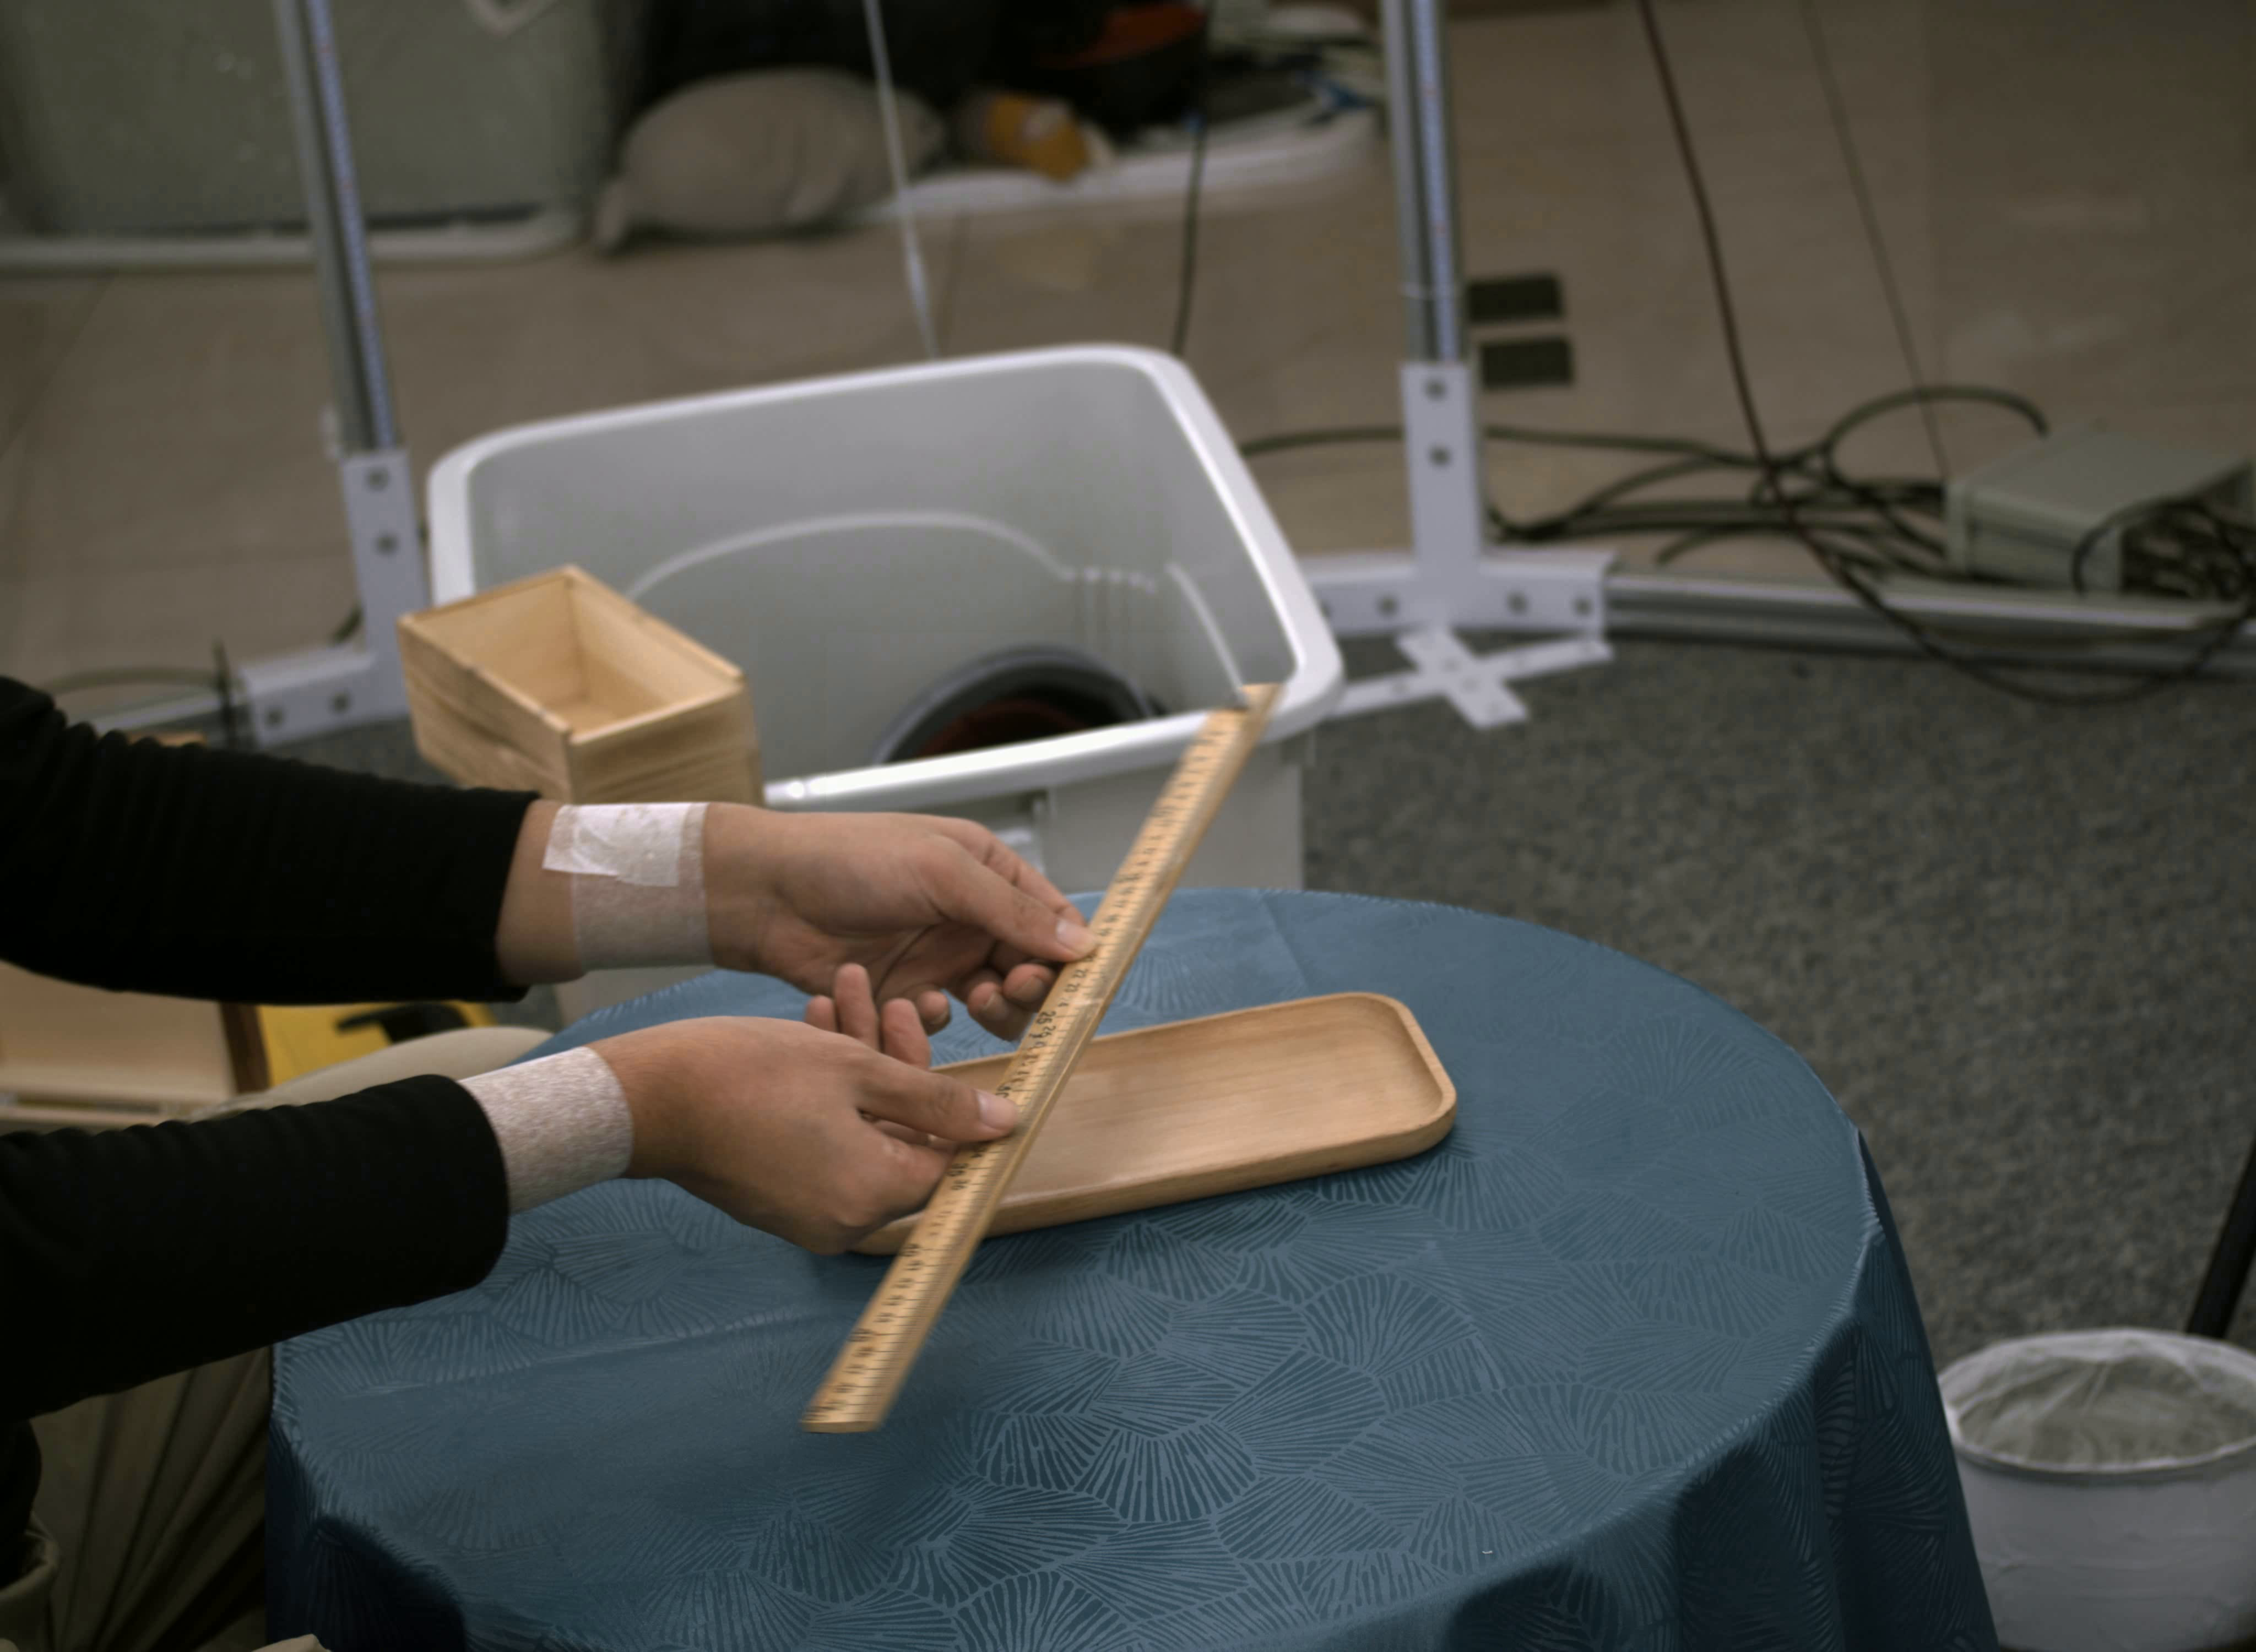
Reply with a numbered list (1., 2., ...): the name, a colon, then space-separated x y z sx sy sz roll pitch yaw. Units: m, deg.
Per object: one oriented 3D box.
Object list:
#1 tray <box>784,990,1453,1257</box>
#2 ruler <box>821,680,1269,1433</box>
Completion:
1. tray: -0.004 0.114 2.183 0.250 0.023 0.129 -11 23 -6
2. ruler: -0.023 0.071 2.073 0.027 0.006 0.492 -7 29 23
